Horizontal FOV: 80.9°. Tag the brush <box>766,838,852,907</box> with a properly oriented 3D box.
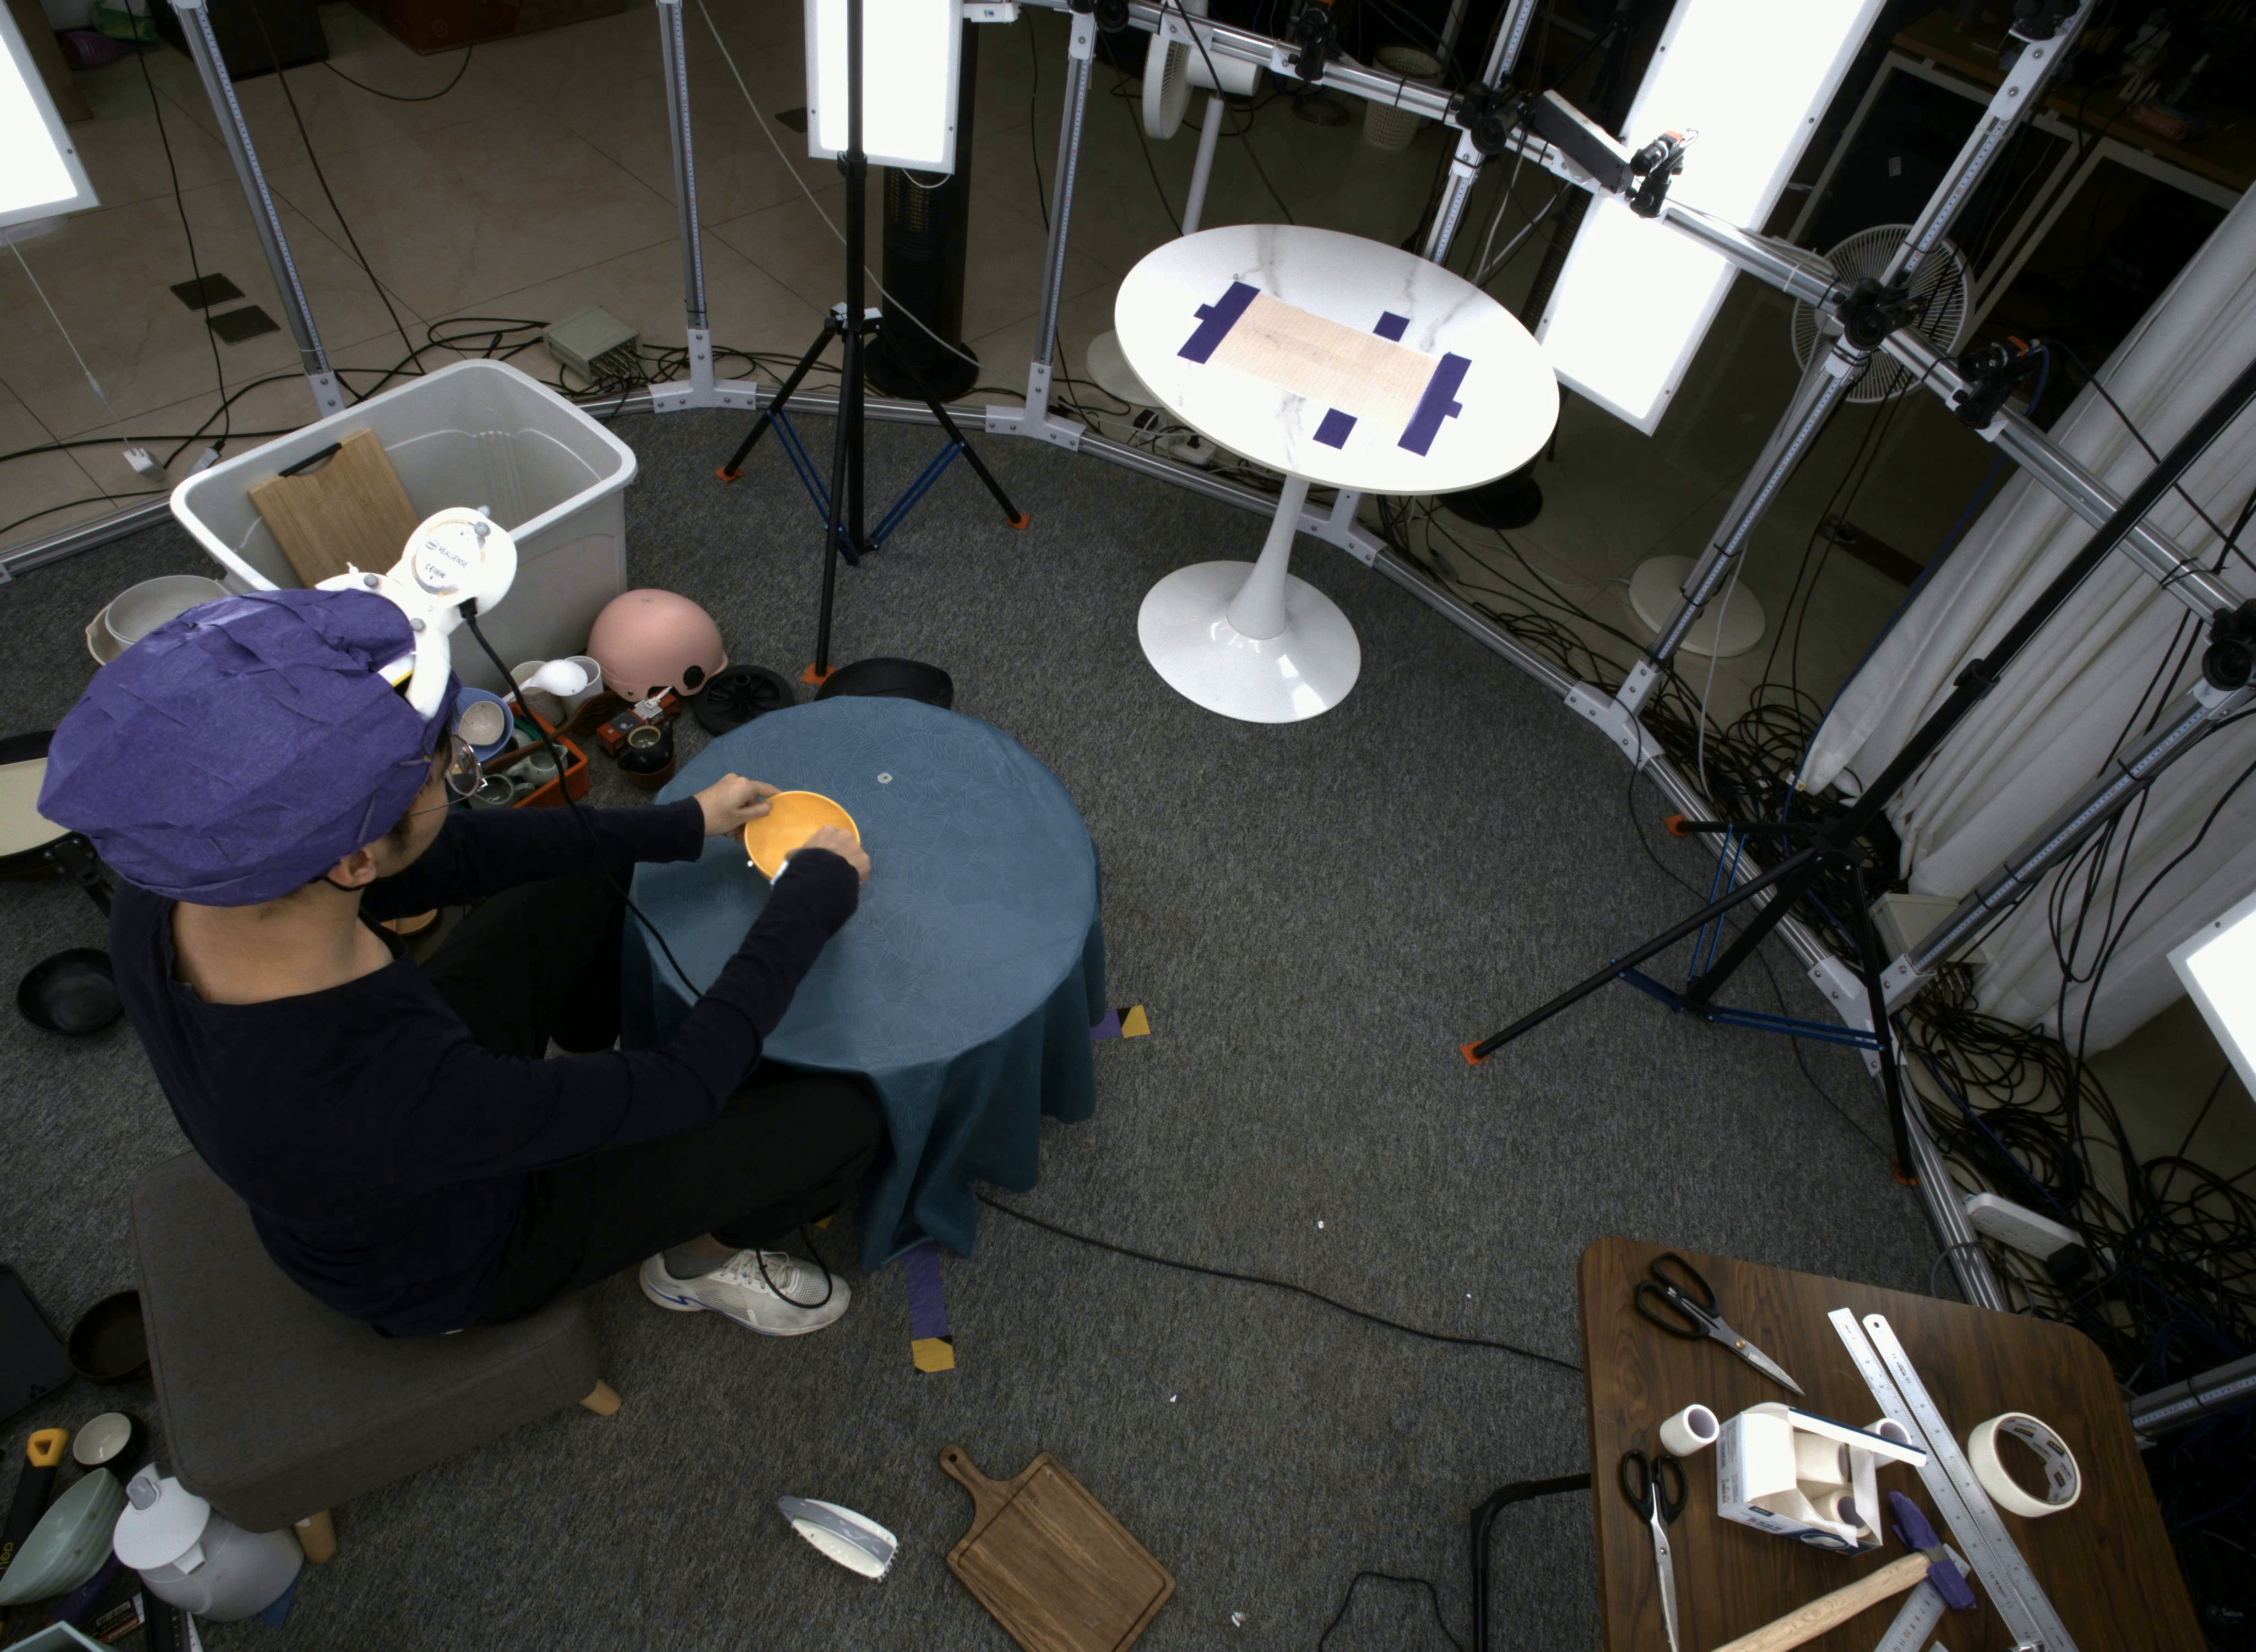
[{"bbox_3d":[-0.370,0.048,1.529,0.084,0.056,0.142,21,11,-8],"label":"brush"}]

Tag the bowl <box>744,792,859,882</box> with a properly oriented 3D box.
[{"bbox_3d":[-0.421,0.031,1.658,0.147,0.060,0.143,15,53,-18],"label":"bowl"}]
